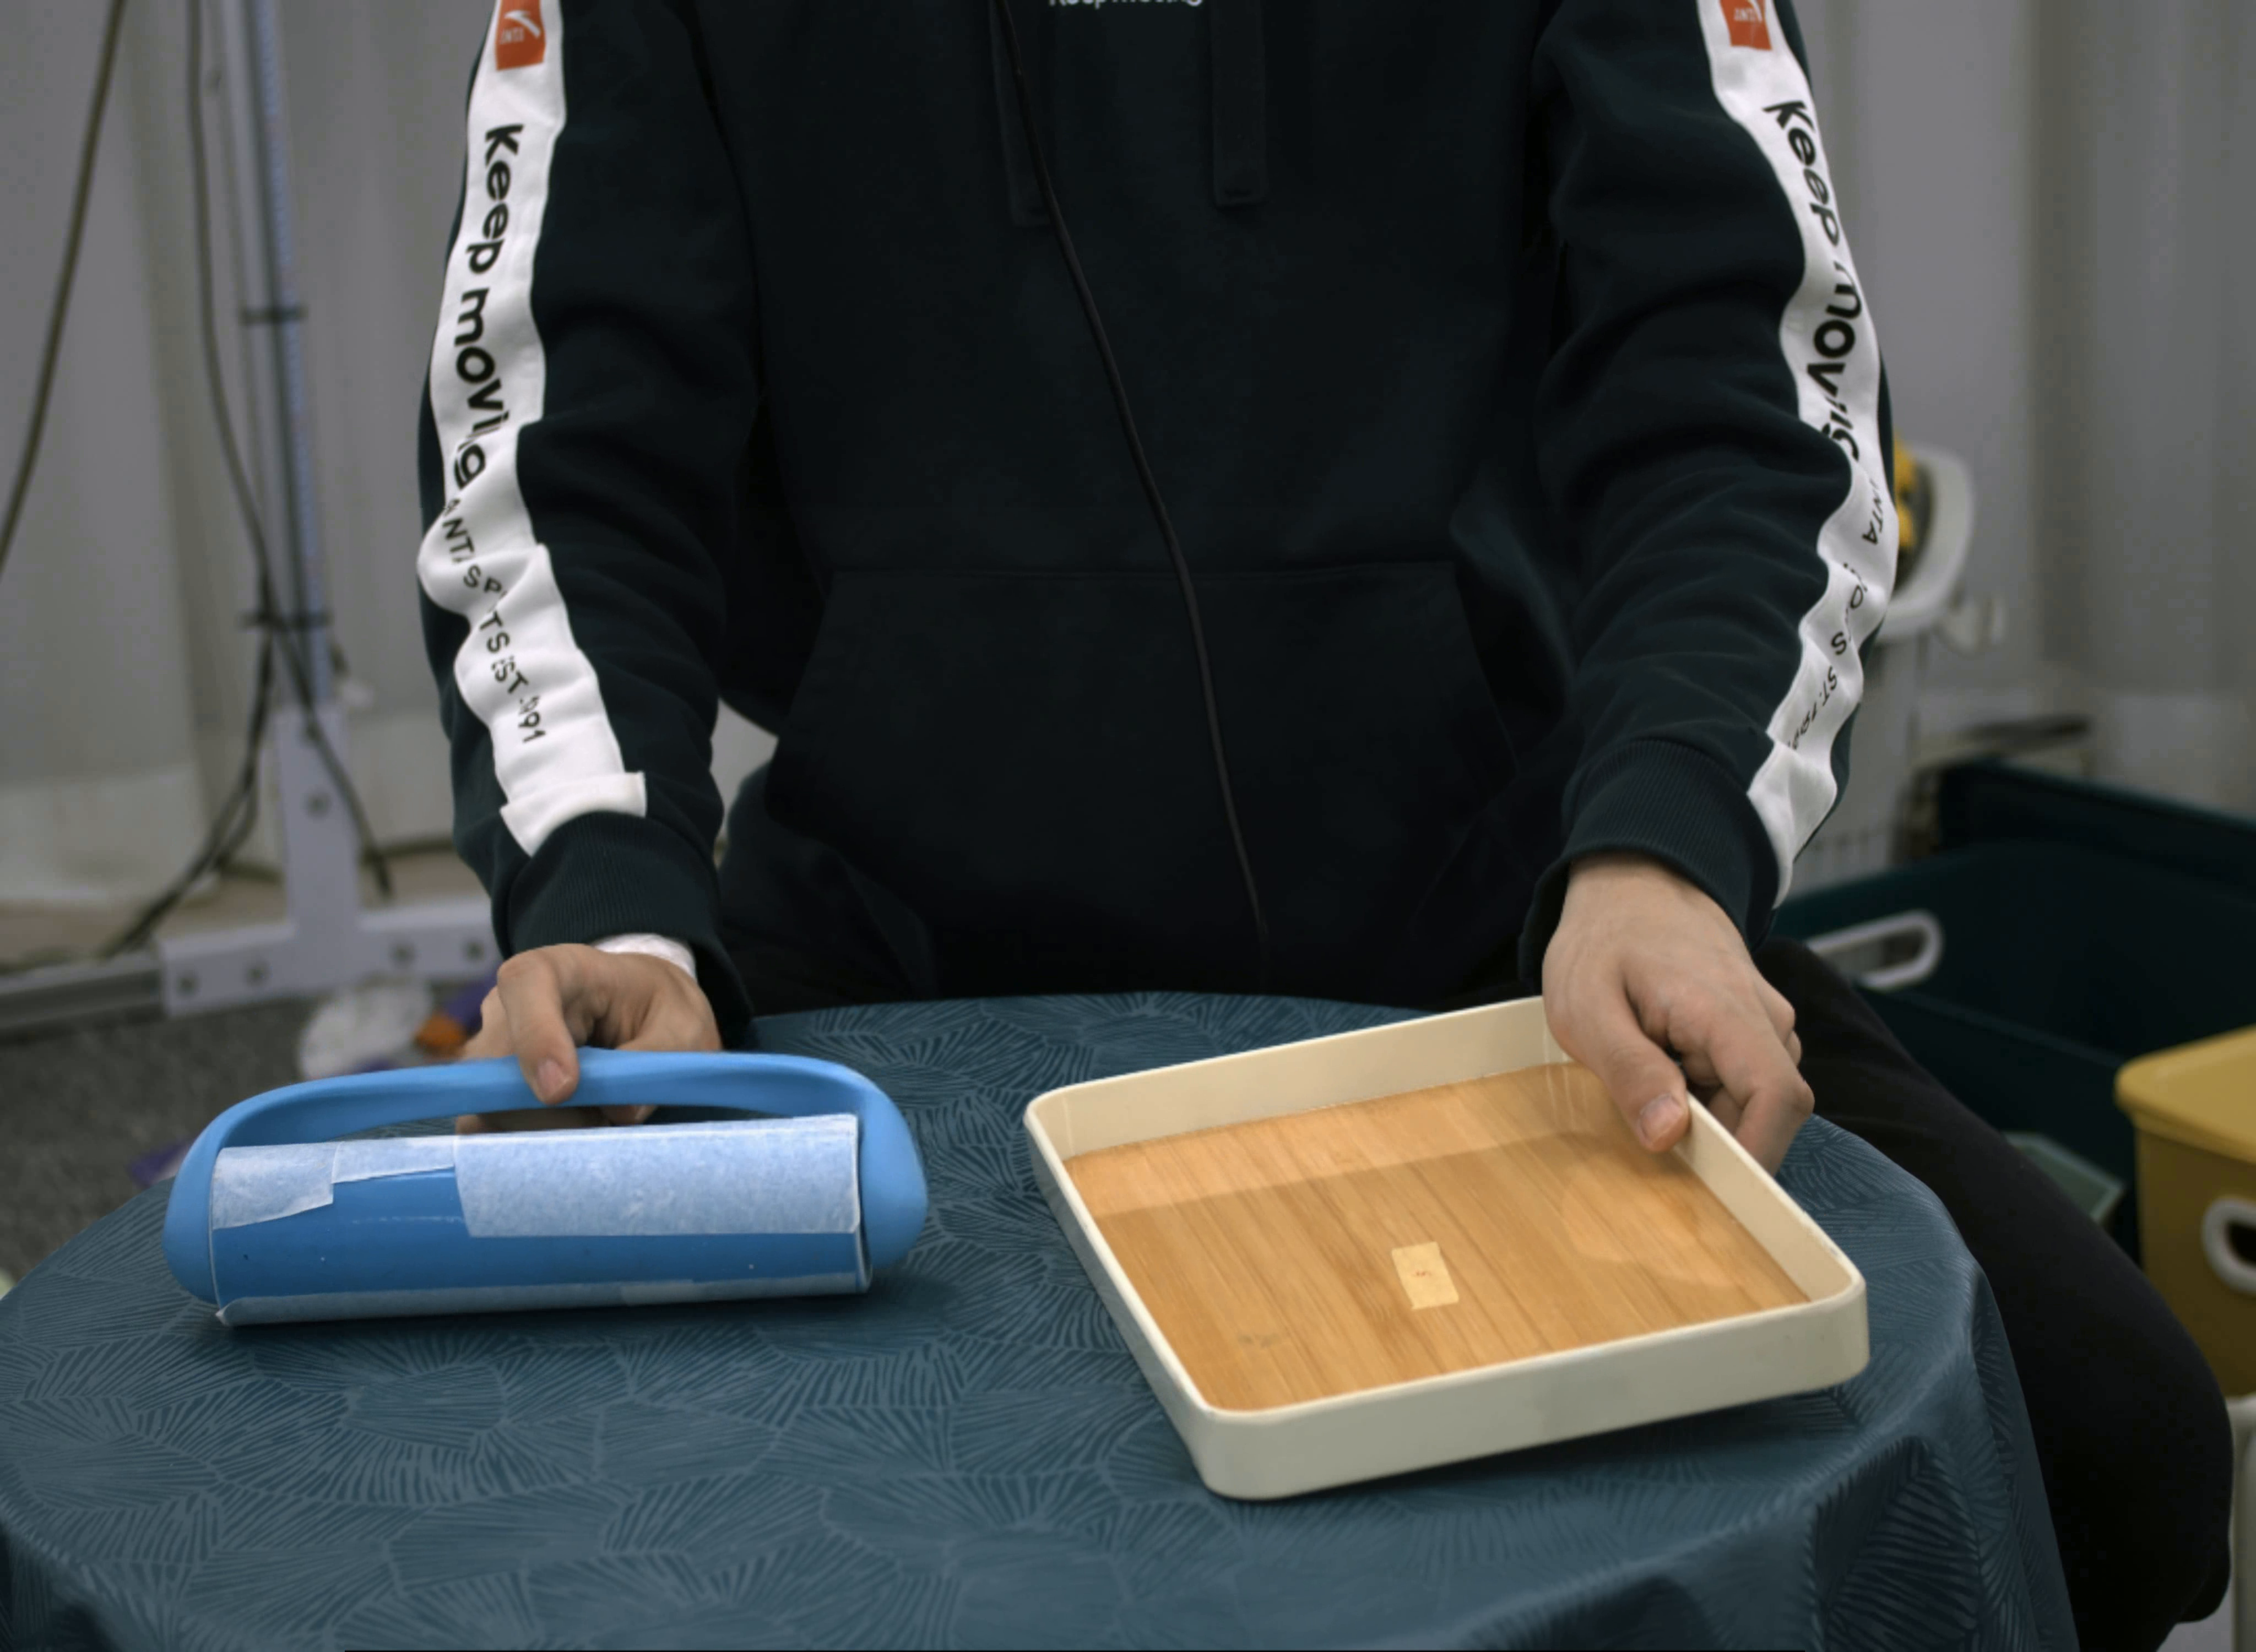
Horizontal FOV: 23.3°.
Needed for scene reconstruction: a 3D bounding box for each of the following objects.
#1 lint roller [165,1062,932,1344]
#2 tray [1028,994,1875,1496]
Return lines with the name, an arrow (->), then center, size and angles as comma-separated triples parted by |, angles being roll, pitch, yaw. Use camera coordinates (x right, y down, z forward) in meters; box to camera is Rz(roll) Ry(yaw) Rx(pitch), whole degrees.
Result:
lint roller -> -0.175, 0.104, 1.685 | 0.228, 0.067, 0.181 | -6, 16, -2
tray -> 0.087, 0.117, 1.604 | 0.191, 0.027, 0.302 | -11, 16, -8
